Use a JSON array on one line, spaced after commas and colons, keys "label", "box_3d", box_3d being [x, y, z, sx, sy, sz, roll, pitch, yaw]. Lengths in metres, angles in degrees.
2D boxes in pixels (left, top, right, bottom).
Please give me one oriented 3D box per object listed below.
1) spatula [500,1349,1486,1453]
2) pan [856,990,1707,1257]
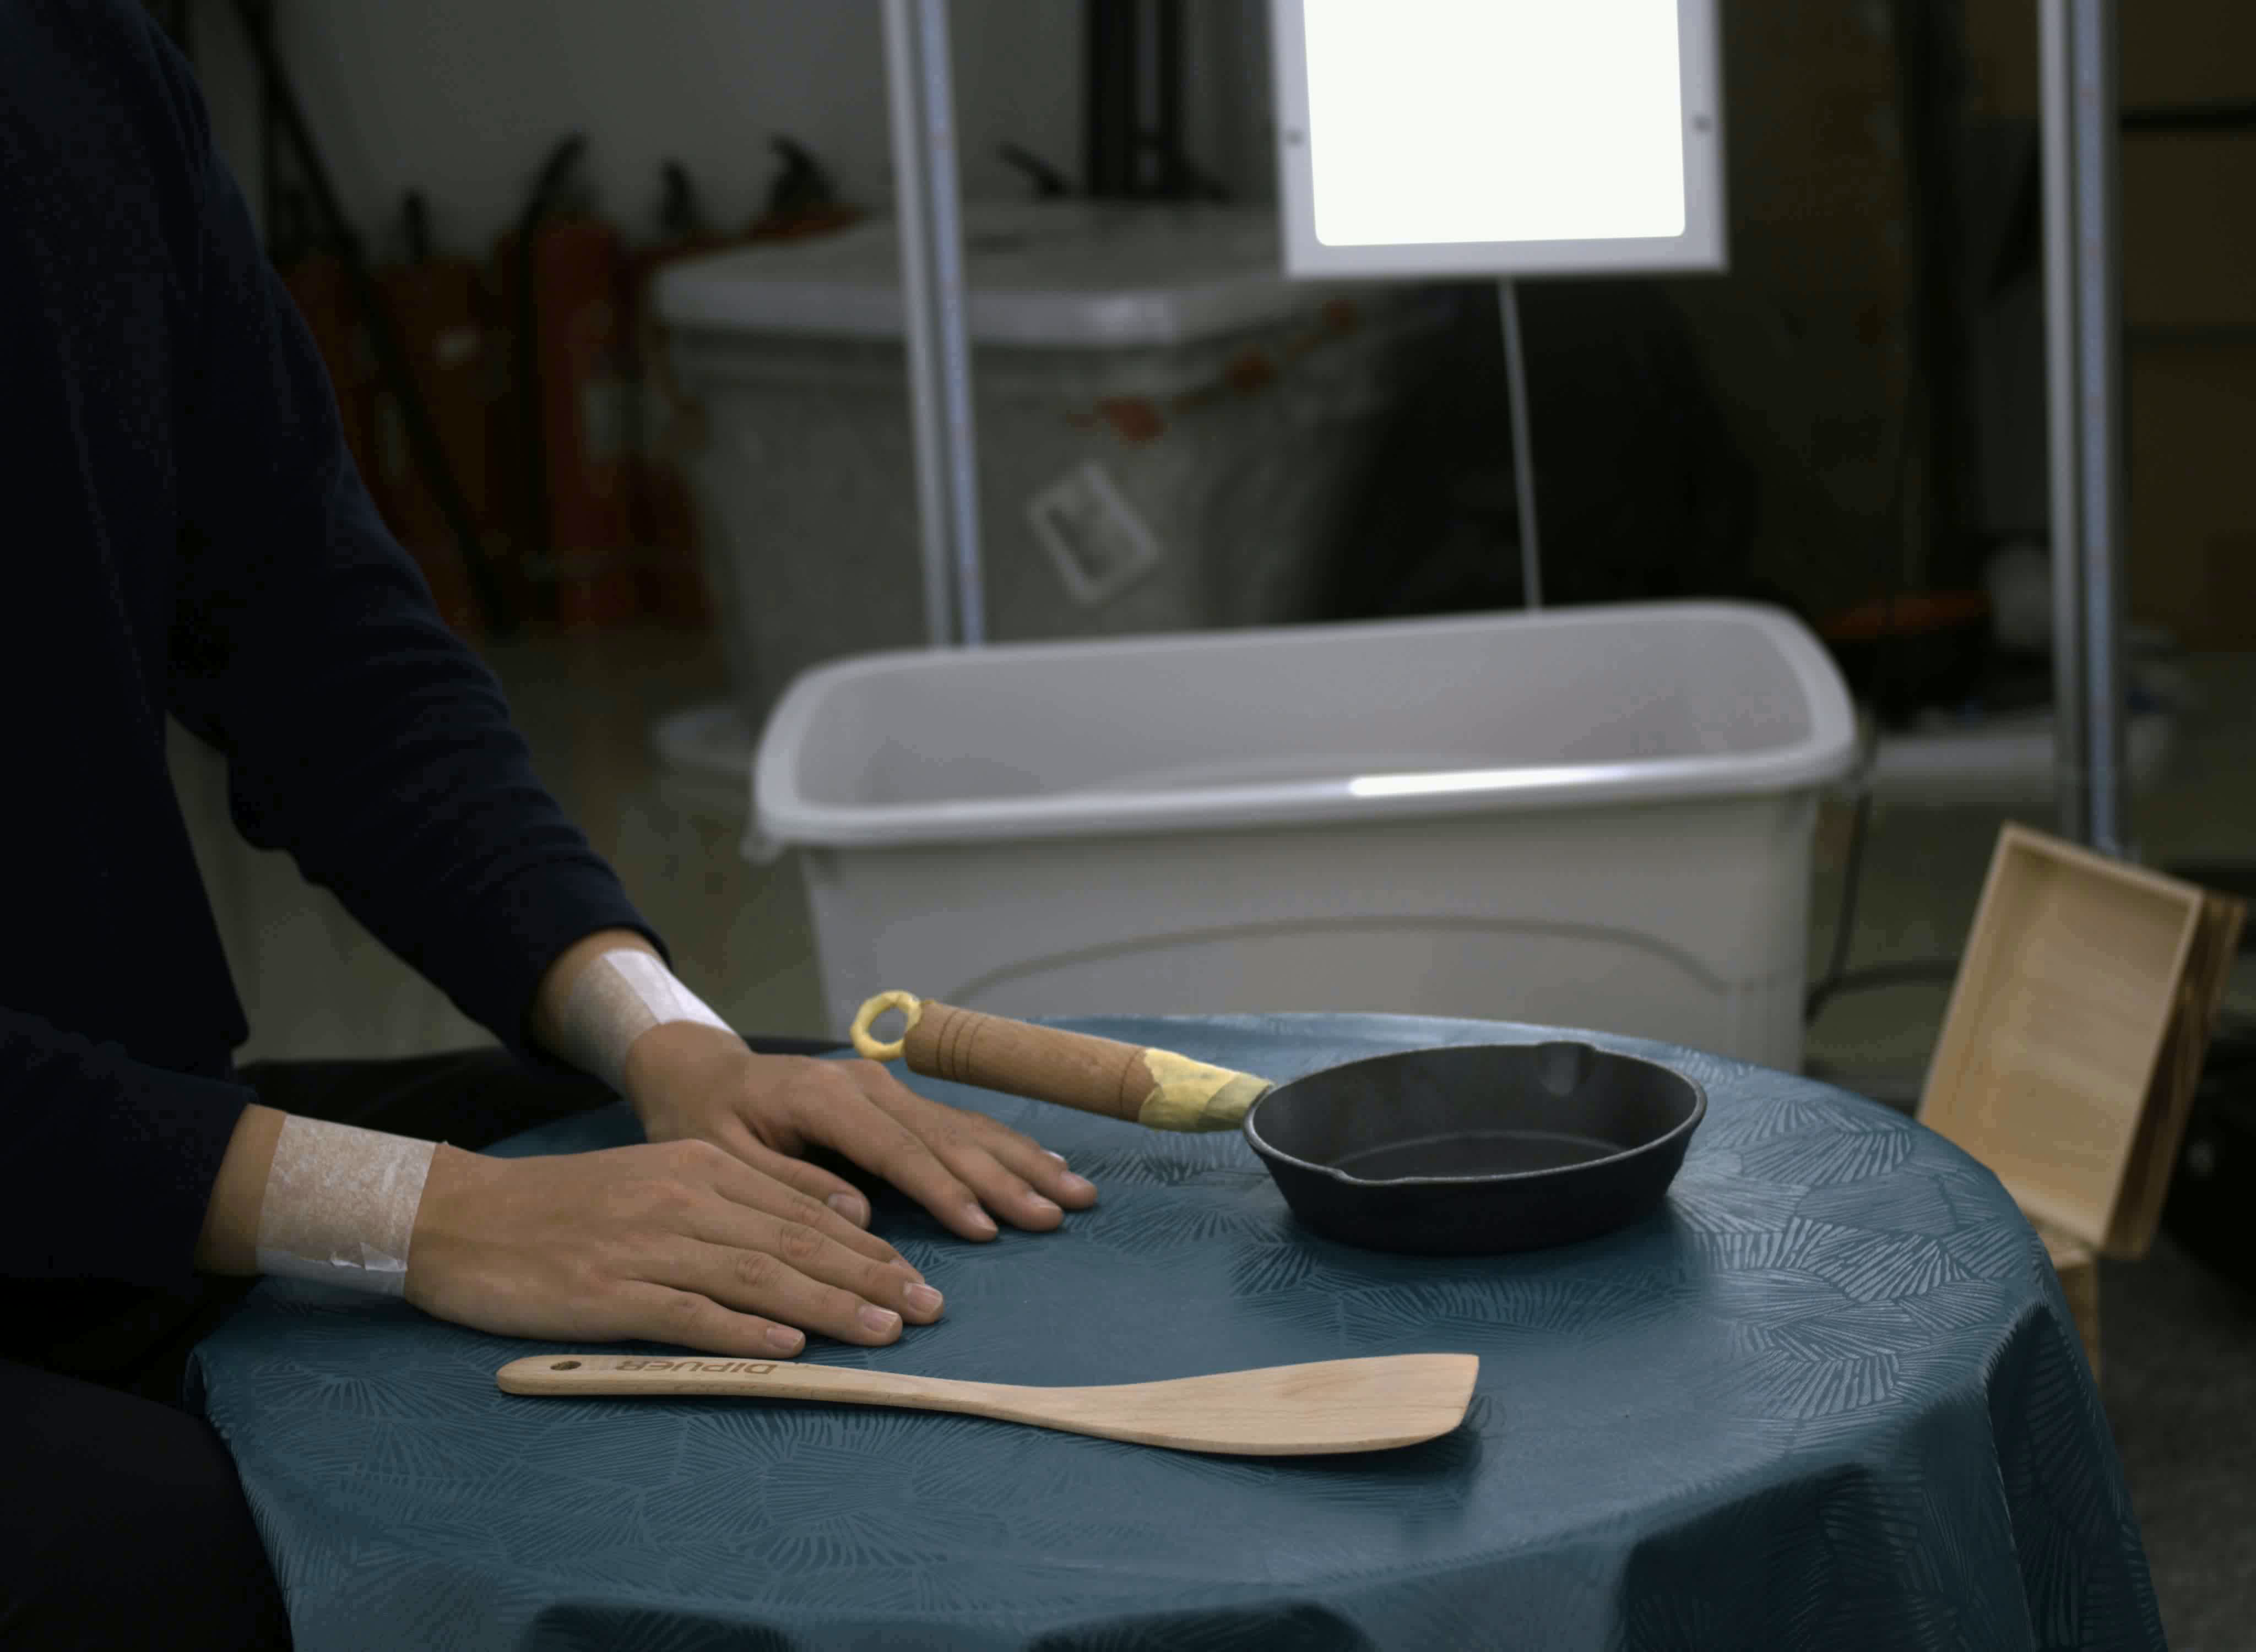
[{"label": "spatula", "box_3d": [-0.044, 0.172, 1.696, 0.332, 0.016, 0.078, 0, 14, 22]}, {"label": "pan", "box_3d": [0.045, 0.096, 1.898, 0.330, 0.050, 0.165, 6, 17, 33]}]
